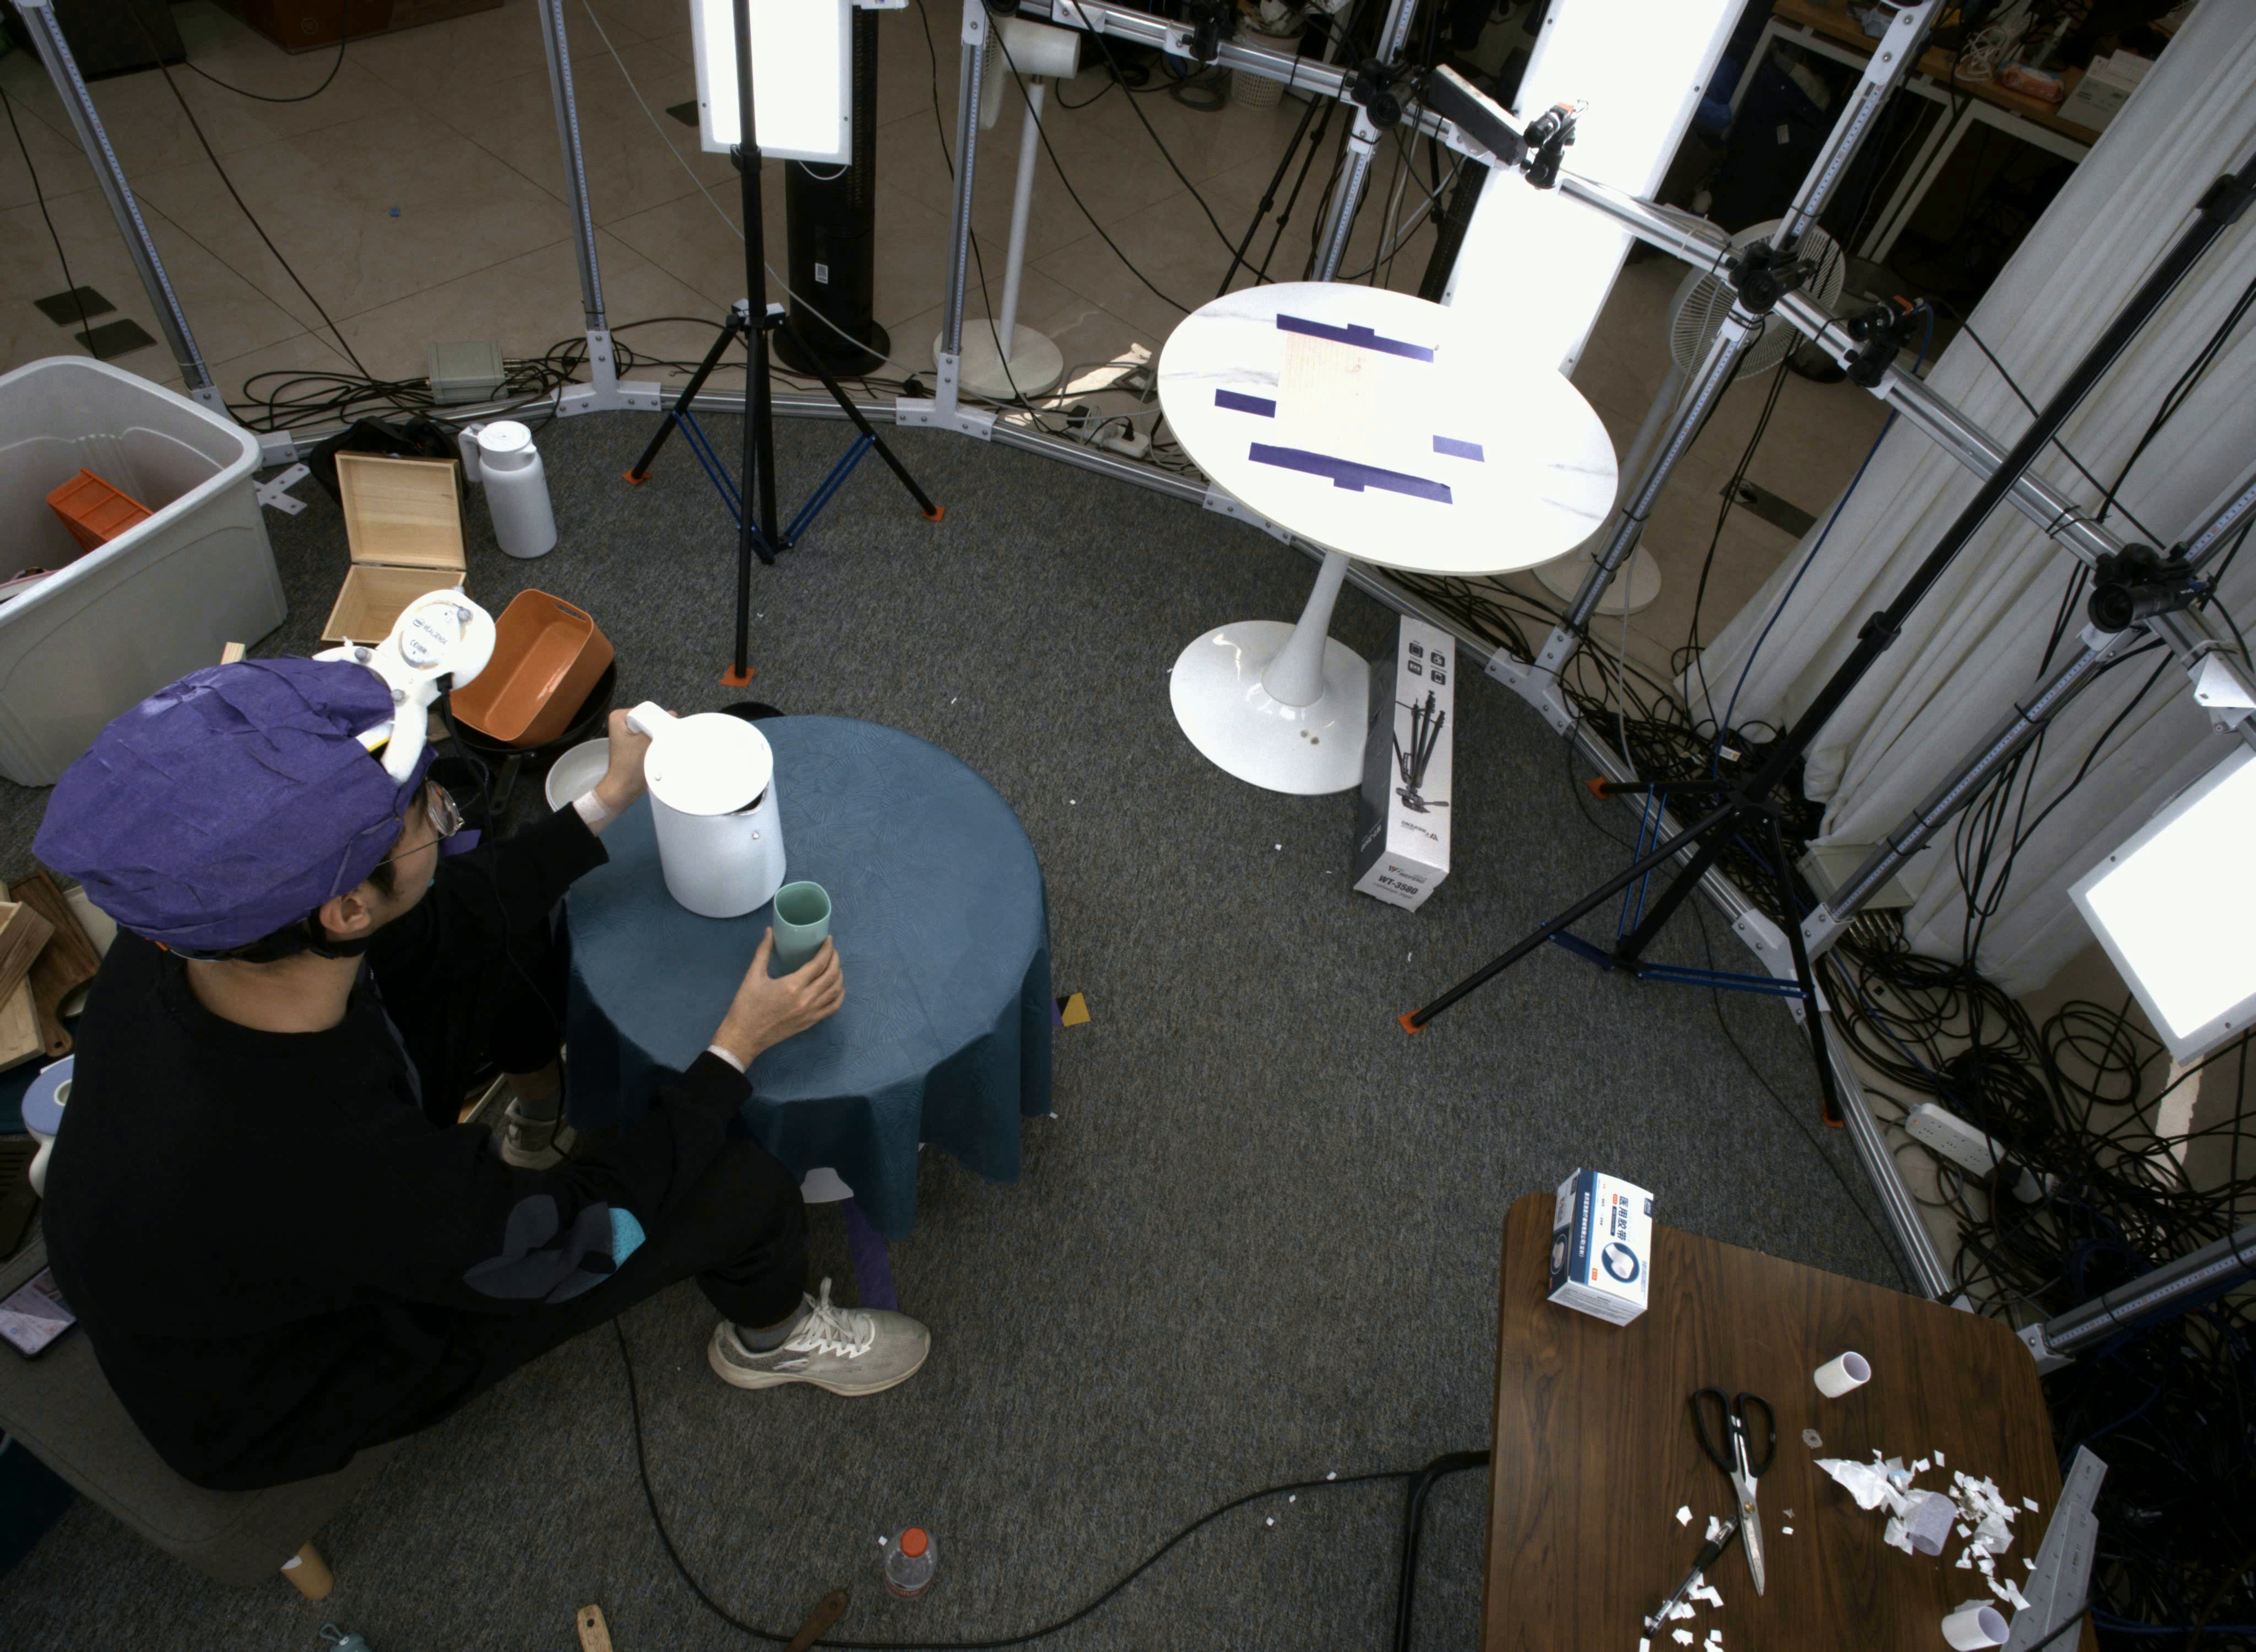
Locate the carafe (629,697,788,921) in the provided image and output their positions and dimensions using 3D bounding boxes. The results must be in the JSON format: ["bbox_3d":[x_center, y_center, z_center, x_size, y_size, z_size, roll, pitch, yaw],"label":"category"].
[{"bbox_3d":[-0.516,-0.029,1.567,0.209,0.244,0.152,37,57,13],"label":"carafe"}]

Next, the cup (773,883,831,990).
[{"bbox_3d":[-0.390,0.131,1.537,0.067,0.134,0.065,10,49,-10],"label":"cup"}]
